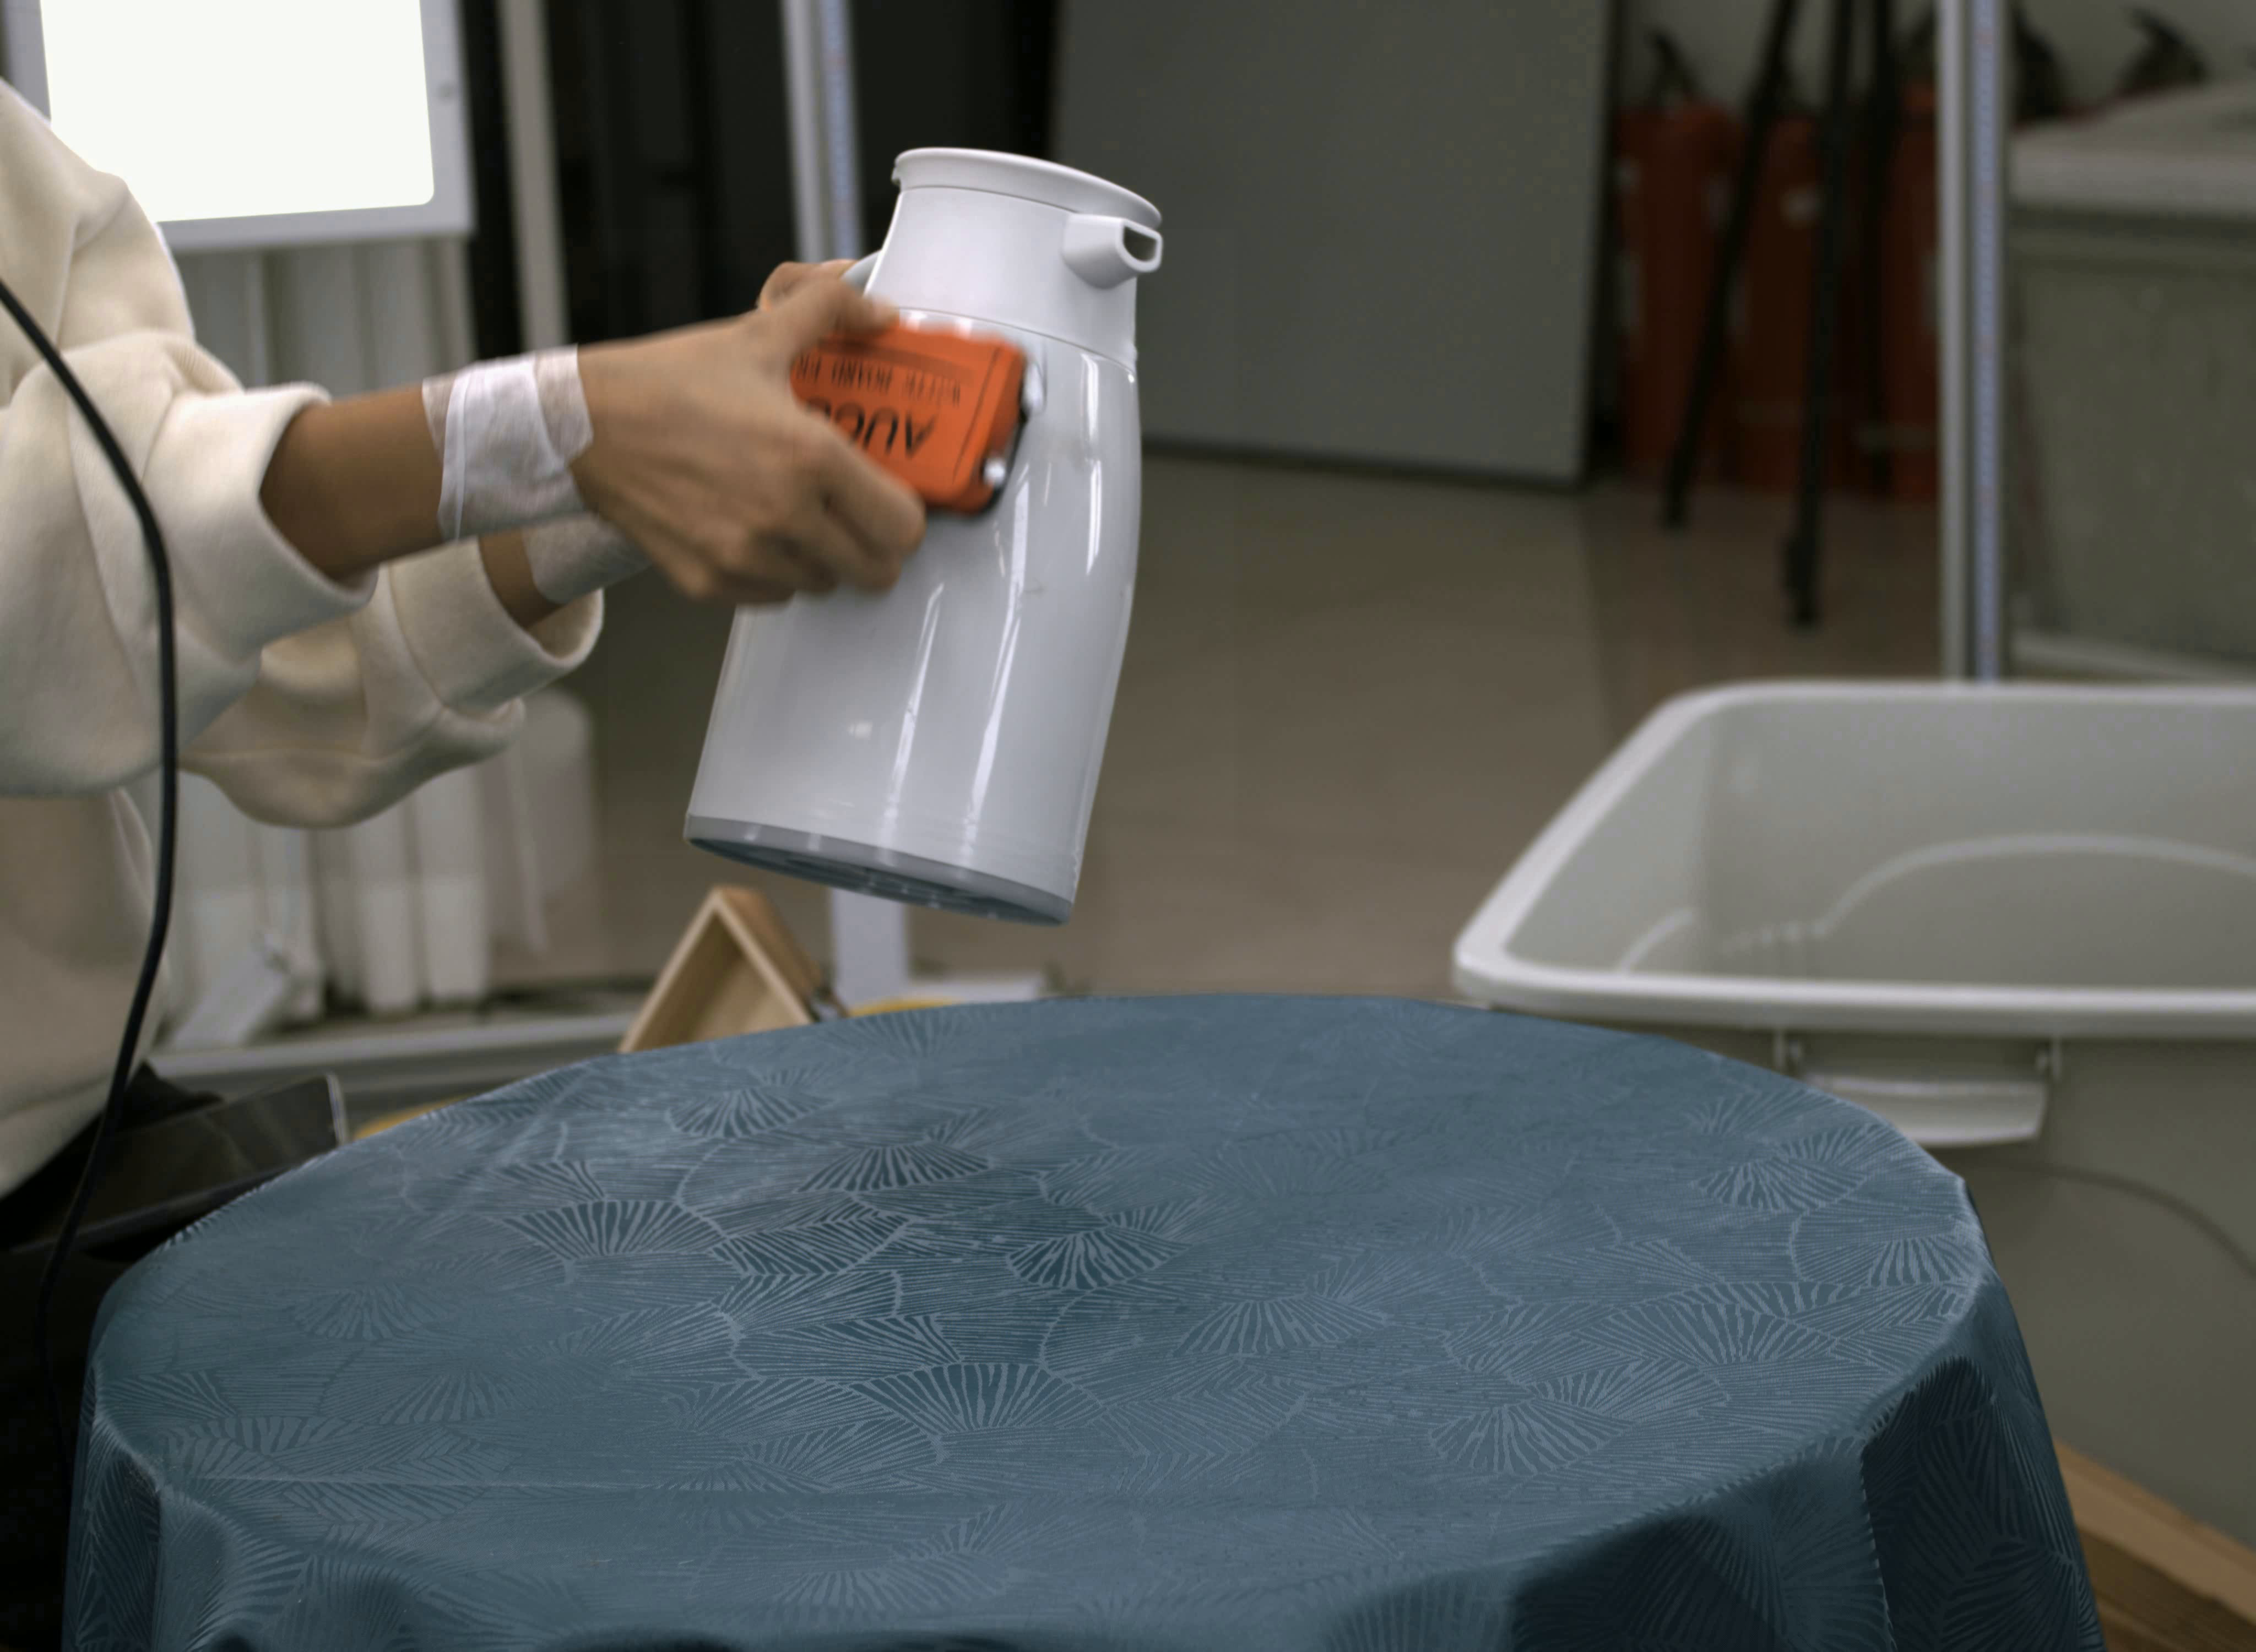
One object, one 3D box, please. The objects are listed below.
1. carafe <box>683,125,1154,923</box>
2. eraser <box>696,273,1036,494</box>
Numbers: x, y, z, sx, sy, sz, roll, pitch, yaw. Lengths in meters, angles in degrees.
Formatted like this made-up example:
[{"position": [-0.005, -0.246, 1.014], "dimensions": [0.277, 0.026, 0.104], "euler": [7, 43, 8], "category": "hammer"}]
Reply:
[{"position": [-0.073, -0.105, 1.808], "dimensions": [0.129, 0.251, 0.169], "euler": [17, -9, -42], "category": "carafe"}, {"position": [-0.084, -0.142, 1.738], "dimensions": [0.108, 0.059, 0.022], "euler": [10, -16, 31], "category": "eraser"}]
